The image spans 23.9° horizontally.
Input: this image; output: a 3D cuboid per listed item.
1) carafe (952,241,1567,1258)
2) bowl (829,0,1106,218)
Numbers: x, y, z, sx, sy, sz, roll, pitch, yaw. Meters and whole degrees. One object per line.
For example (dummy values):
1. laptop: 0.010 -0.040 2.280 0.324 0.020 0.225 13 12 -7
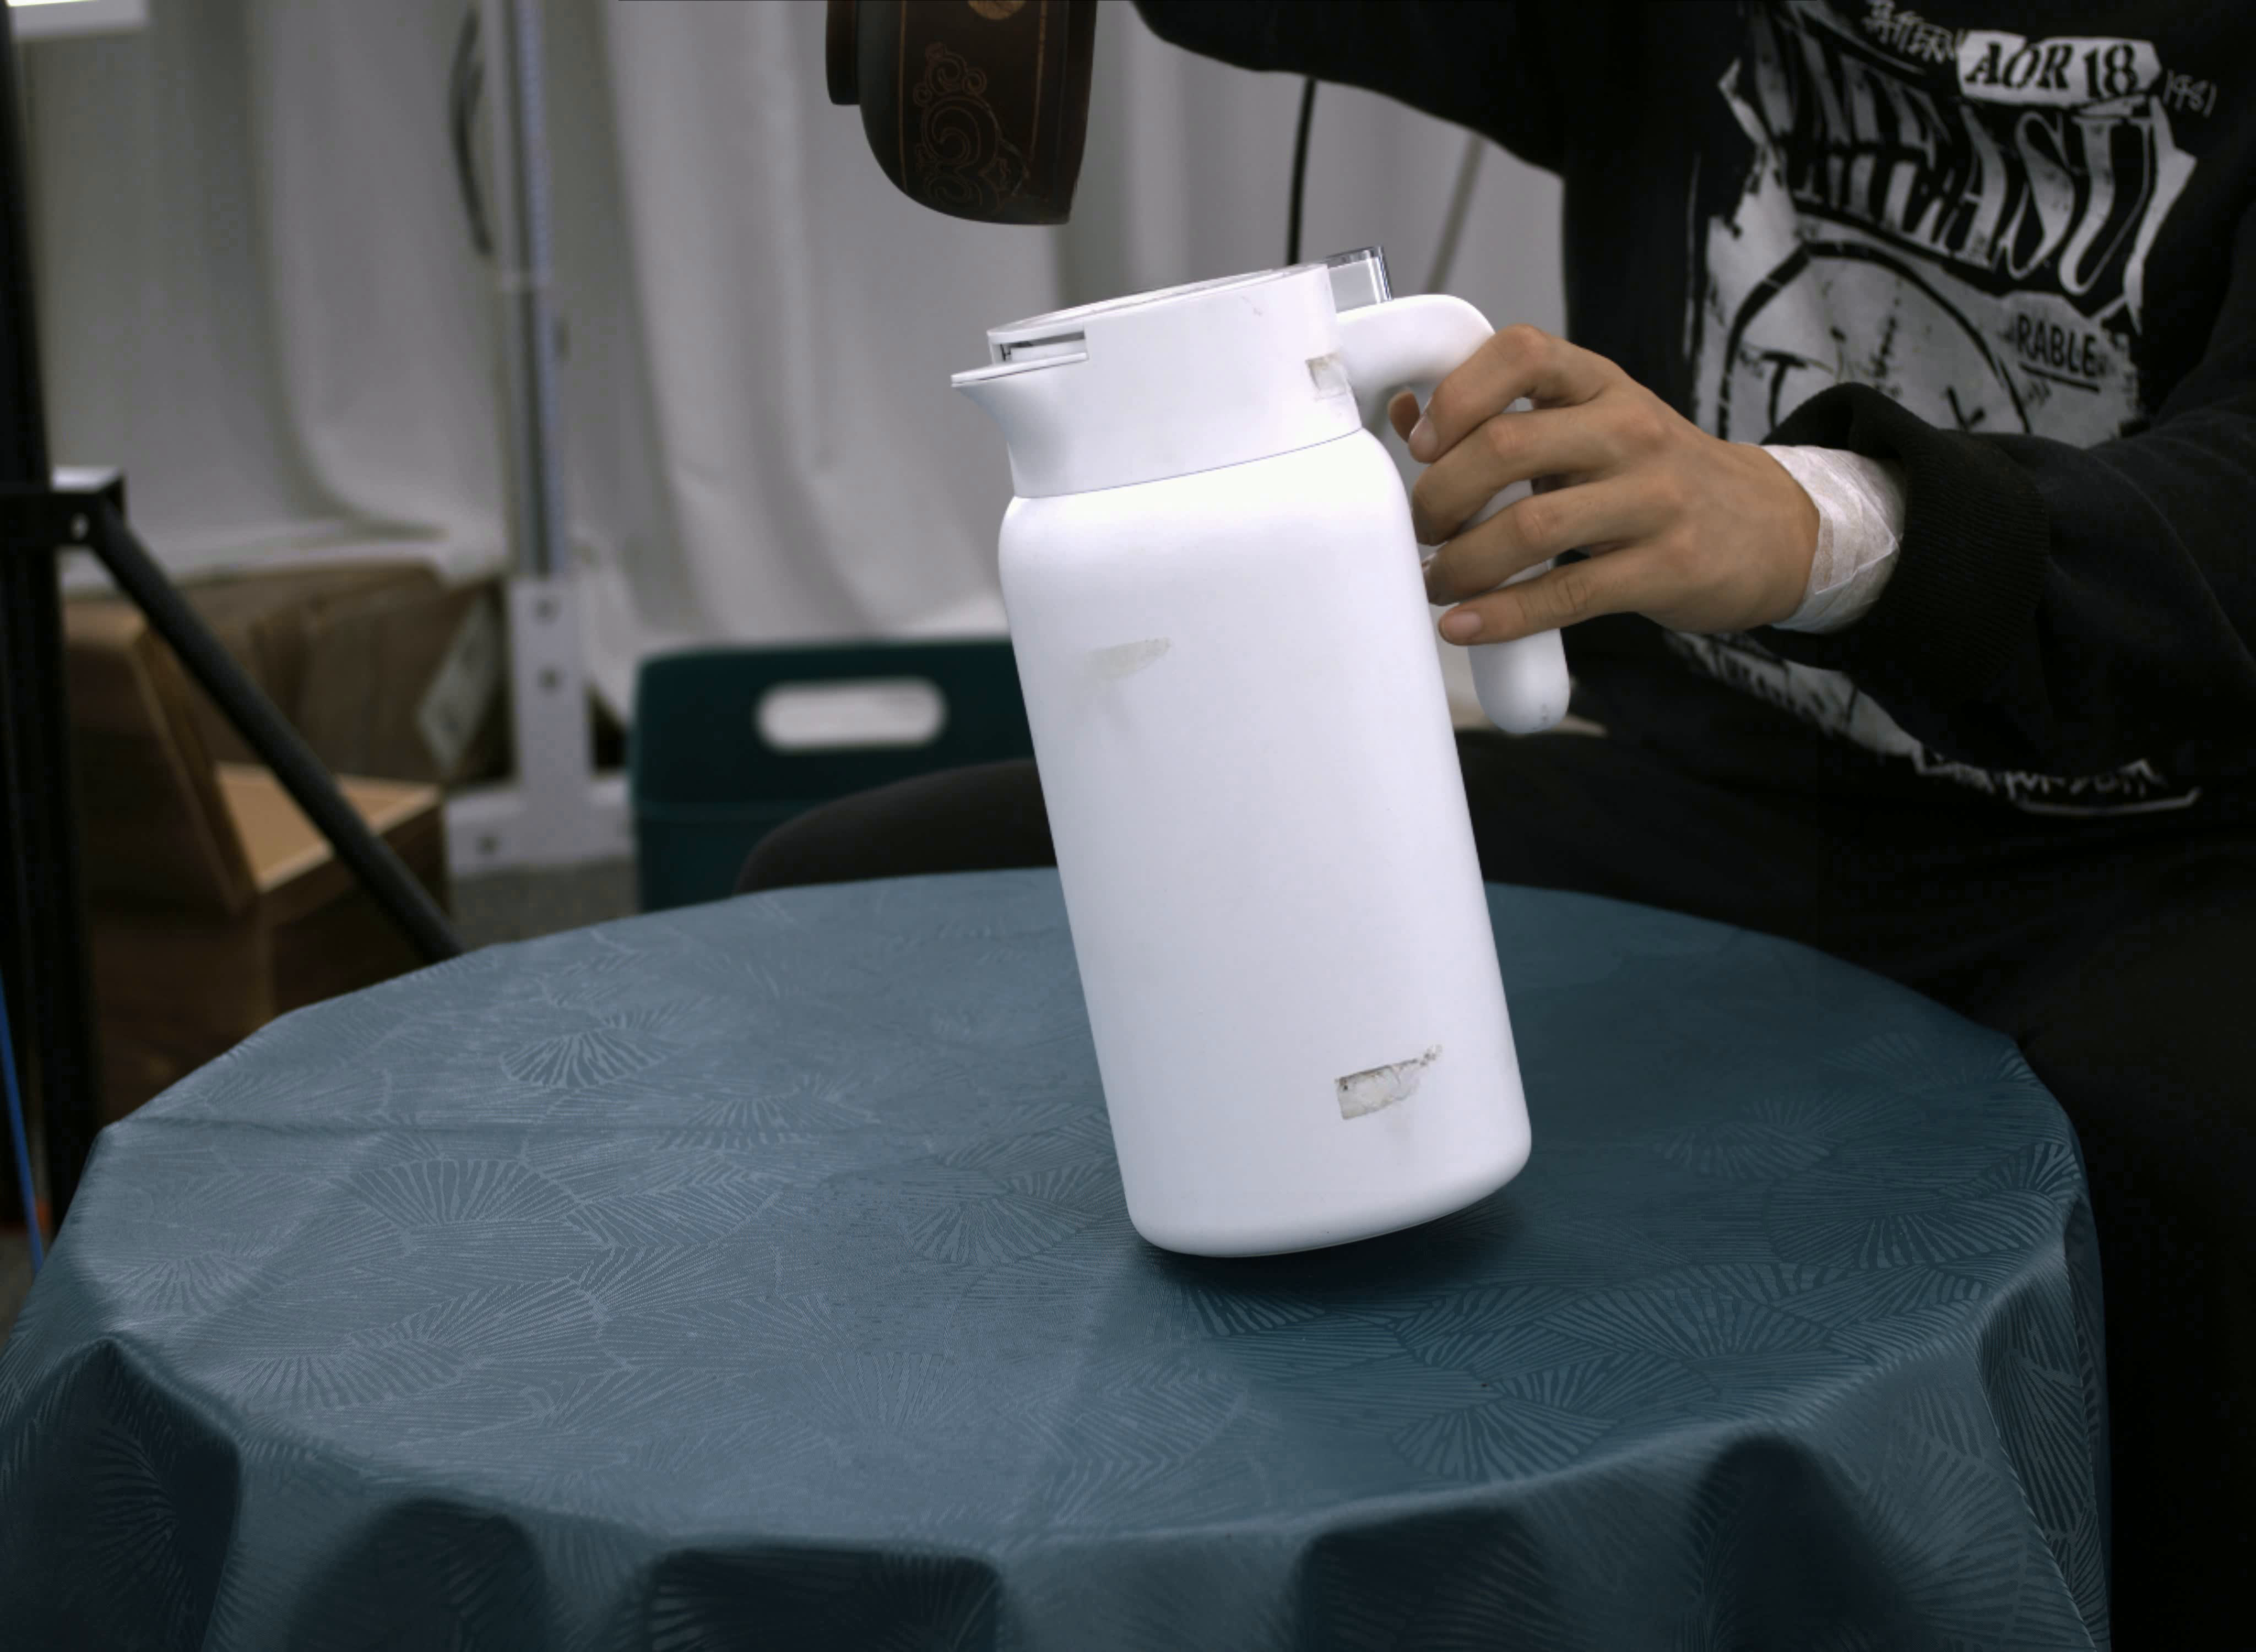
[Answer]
1. carafe: 0.048 -0.024 1.500 0.169 0.269 0.126 -15 5 -30
2. bowl: -0.044 -0.229 1.477 0.070 0.118 0.118 5 16 4
